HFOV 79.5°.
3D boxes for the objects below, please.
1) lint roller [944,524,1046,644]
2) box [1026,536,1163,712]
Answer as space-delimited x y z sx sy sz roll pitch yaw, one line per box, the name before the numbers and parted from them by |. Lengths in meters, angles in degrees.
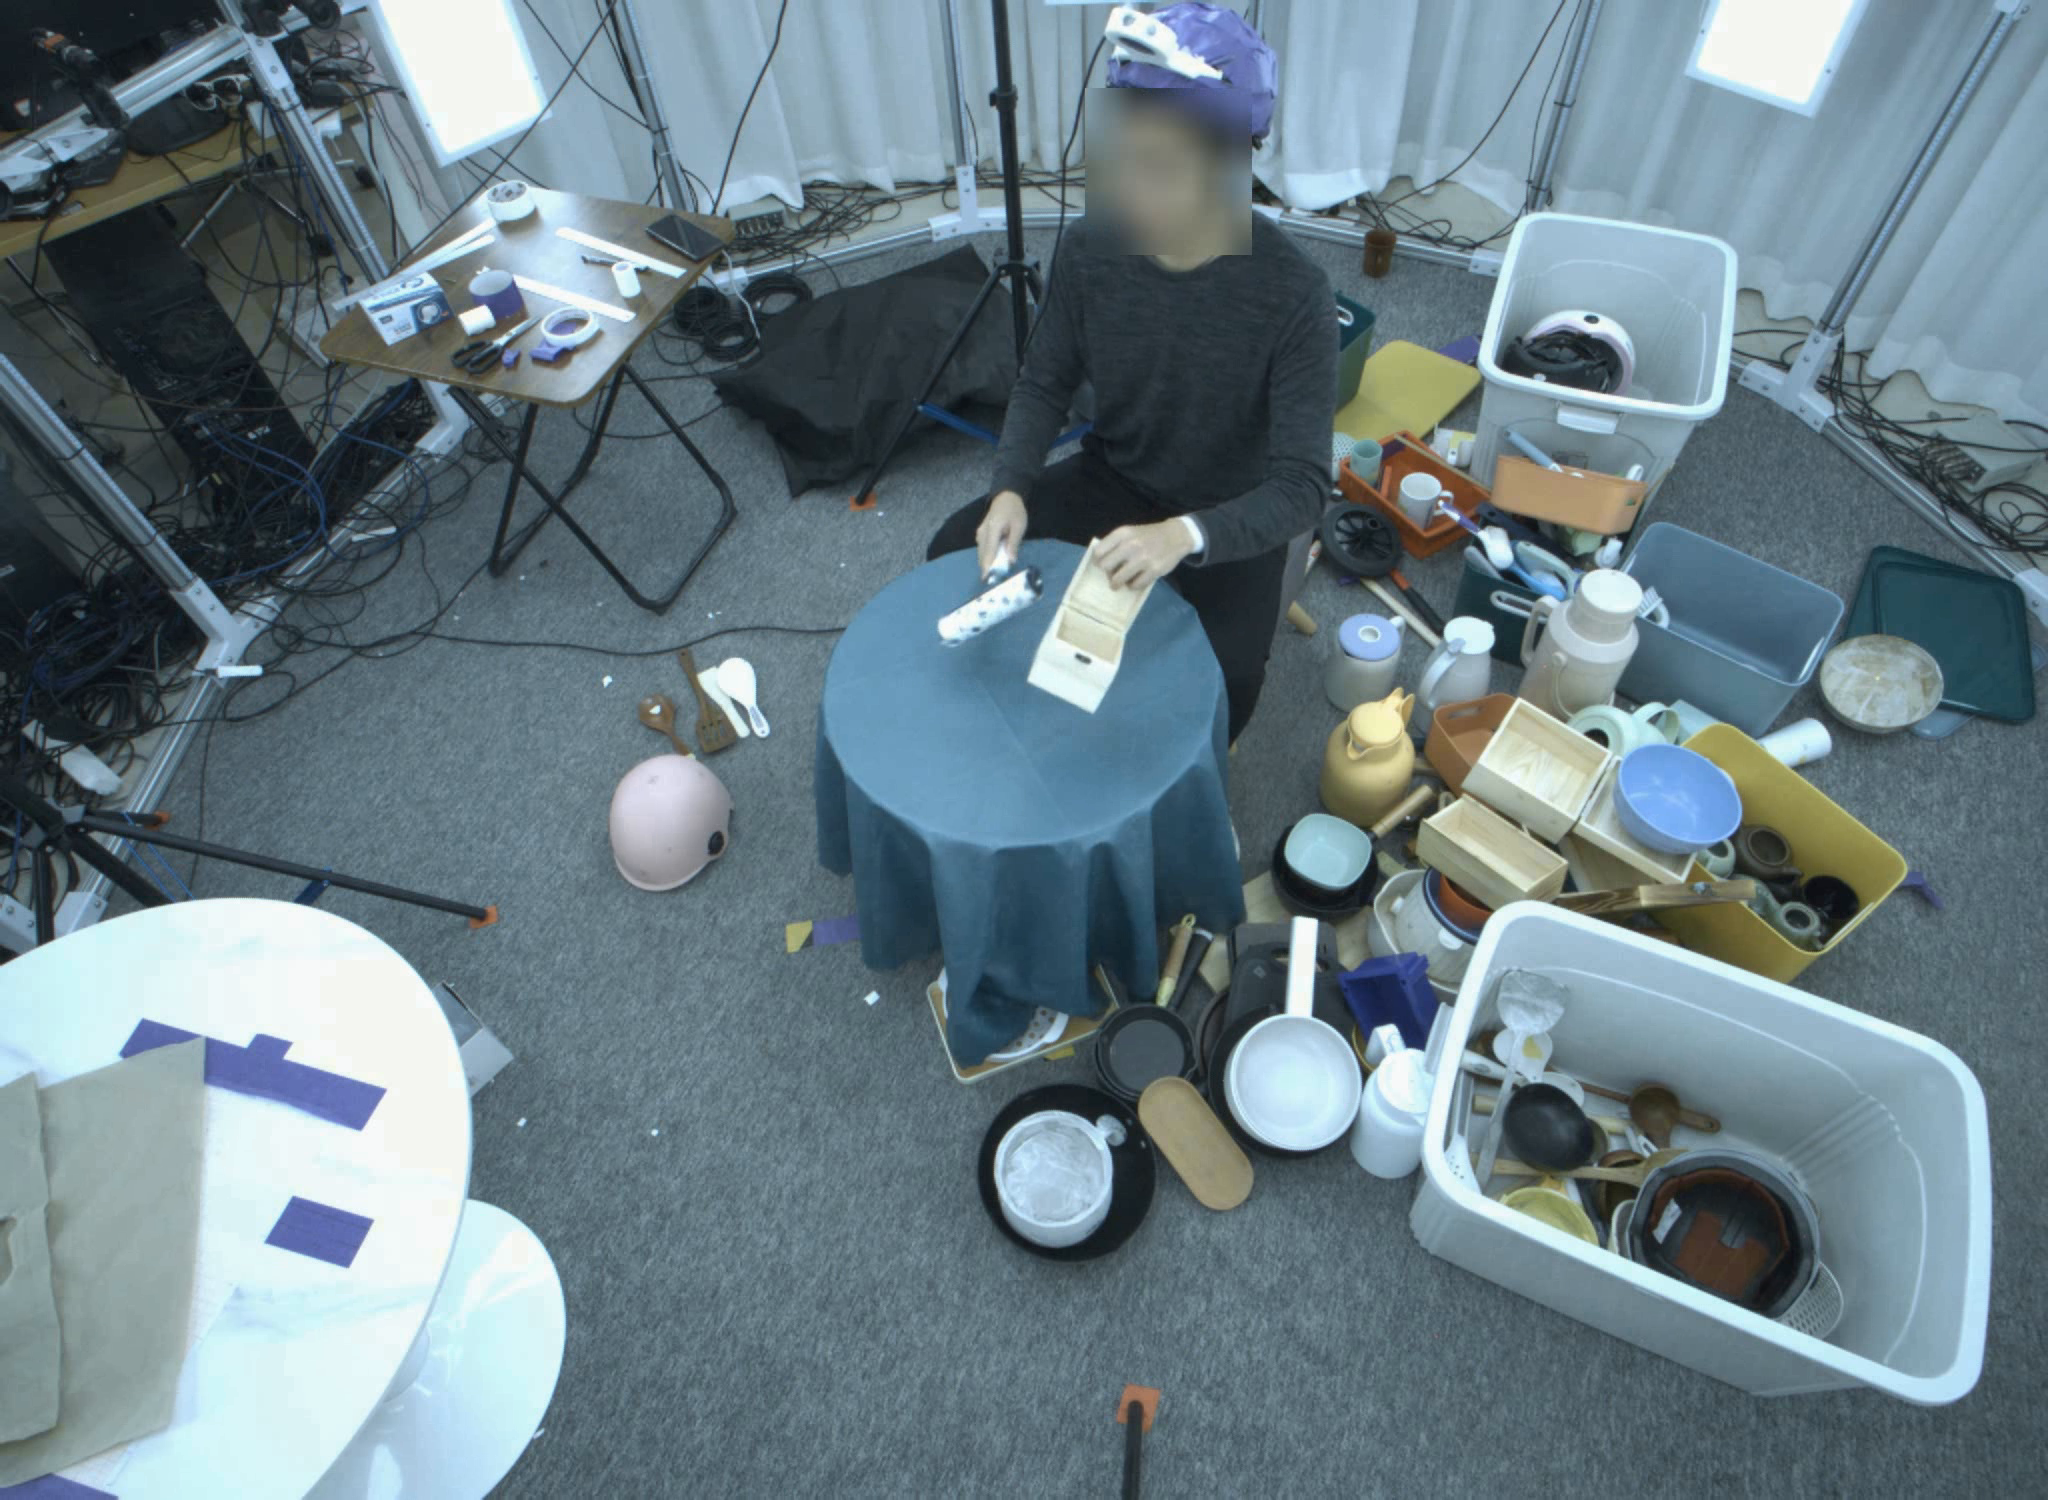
lint roller | -0.040 -0.279 1.871 0.174 0.051 0.244 -30 34 26
box | 0.095 -0.170 1.652 0.103 0.184 0.133 26 34 -7
